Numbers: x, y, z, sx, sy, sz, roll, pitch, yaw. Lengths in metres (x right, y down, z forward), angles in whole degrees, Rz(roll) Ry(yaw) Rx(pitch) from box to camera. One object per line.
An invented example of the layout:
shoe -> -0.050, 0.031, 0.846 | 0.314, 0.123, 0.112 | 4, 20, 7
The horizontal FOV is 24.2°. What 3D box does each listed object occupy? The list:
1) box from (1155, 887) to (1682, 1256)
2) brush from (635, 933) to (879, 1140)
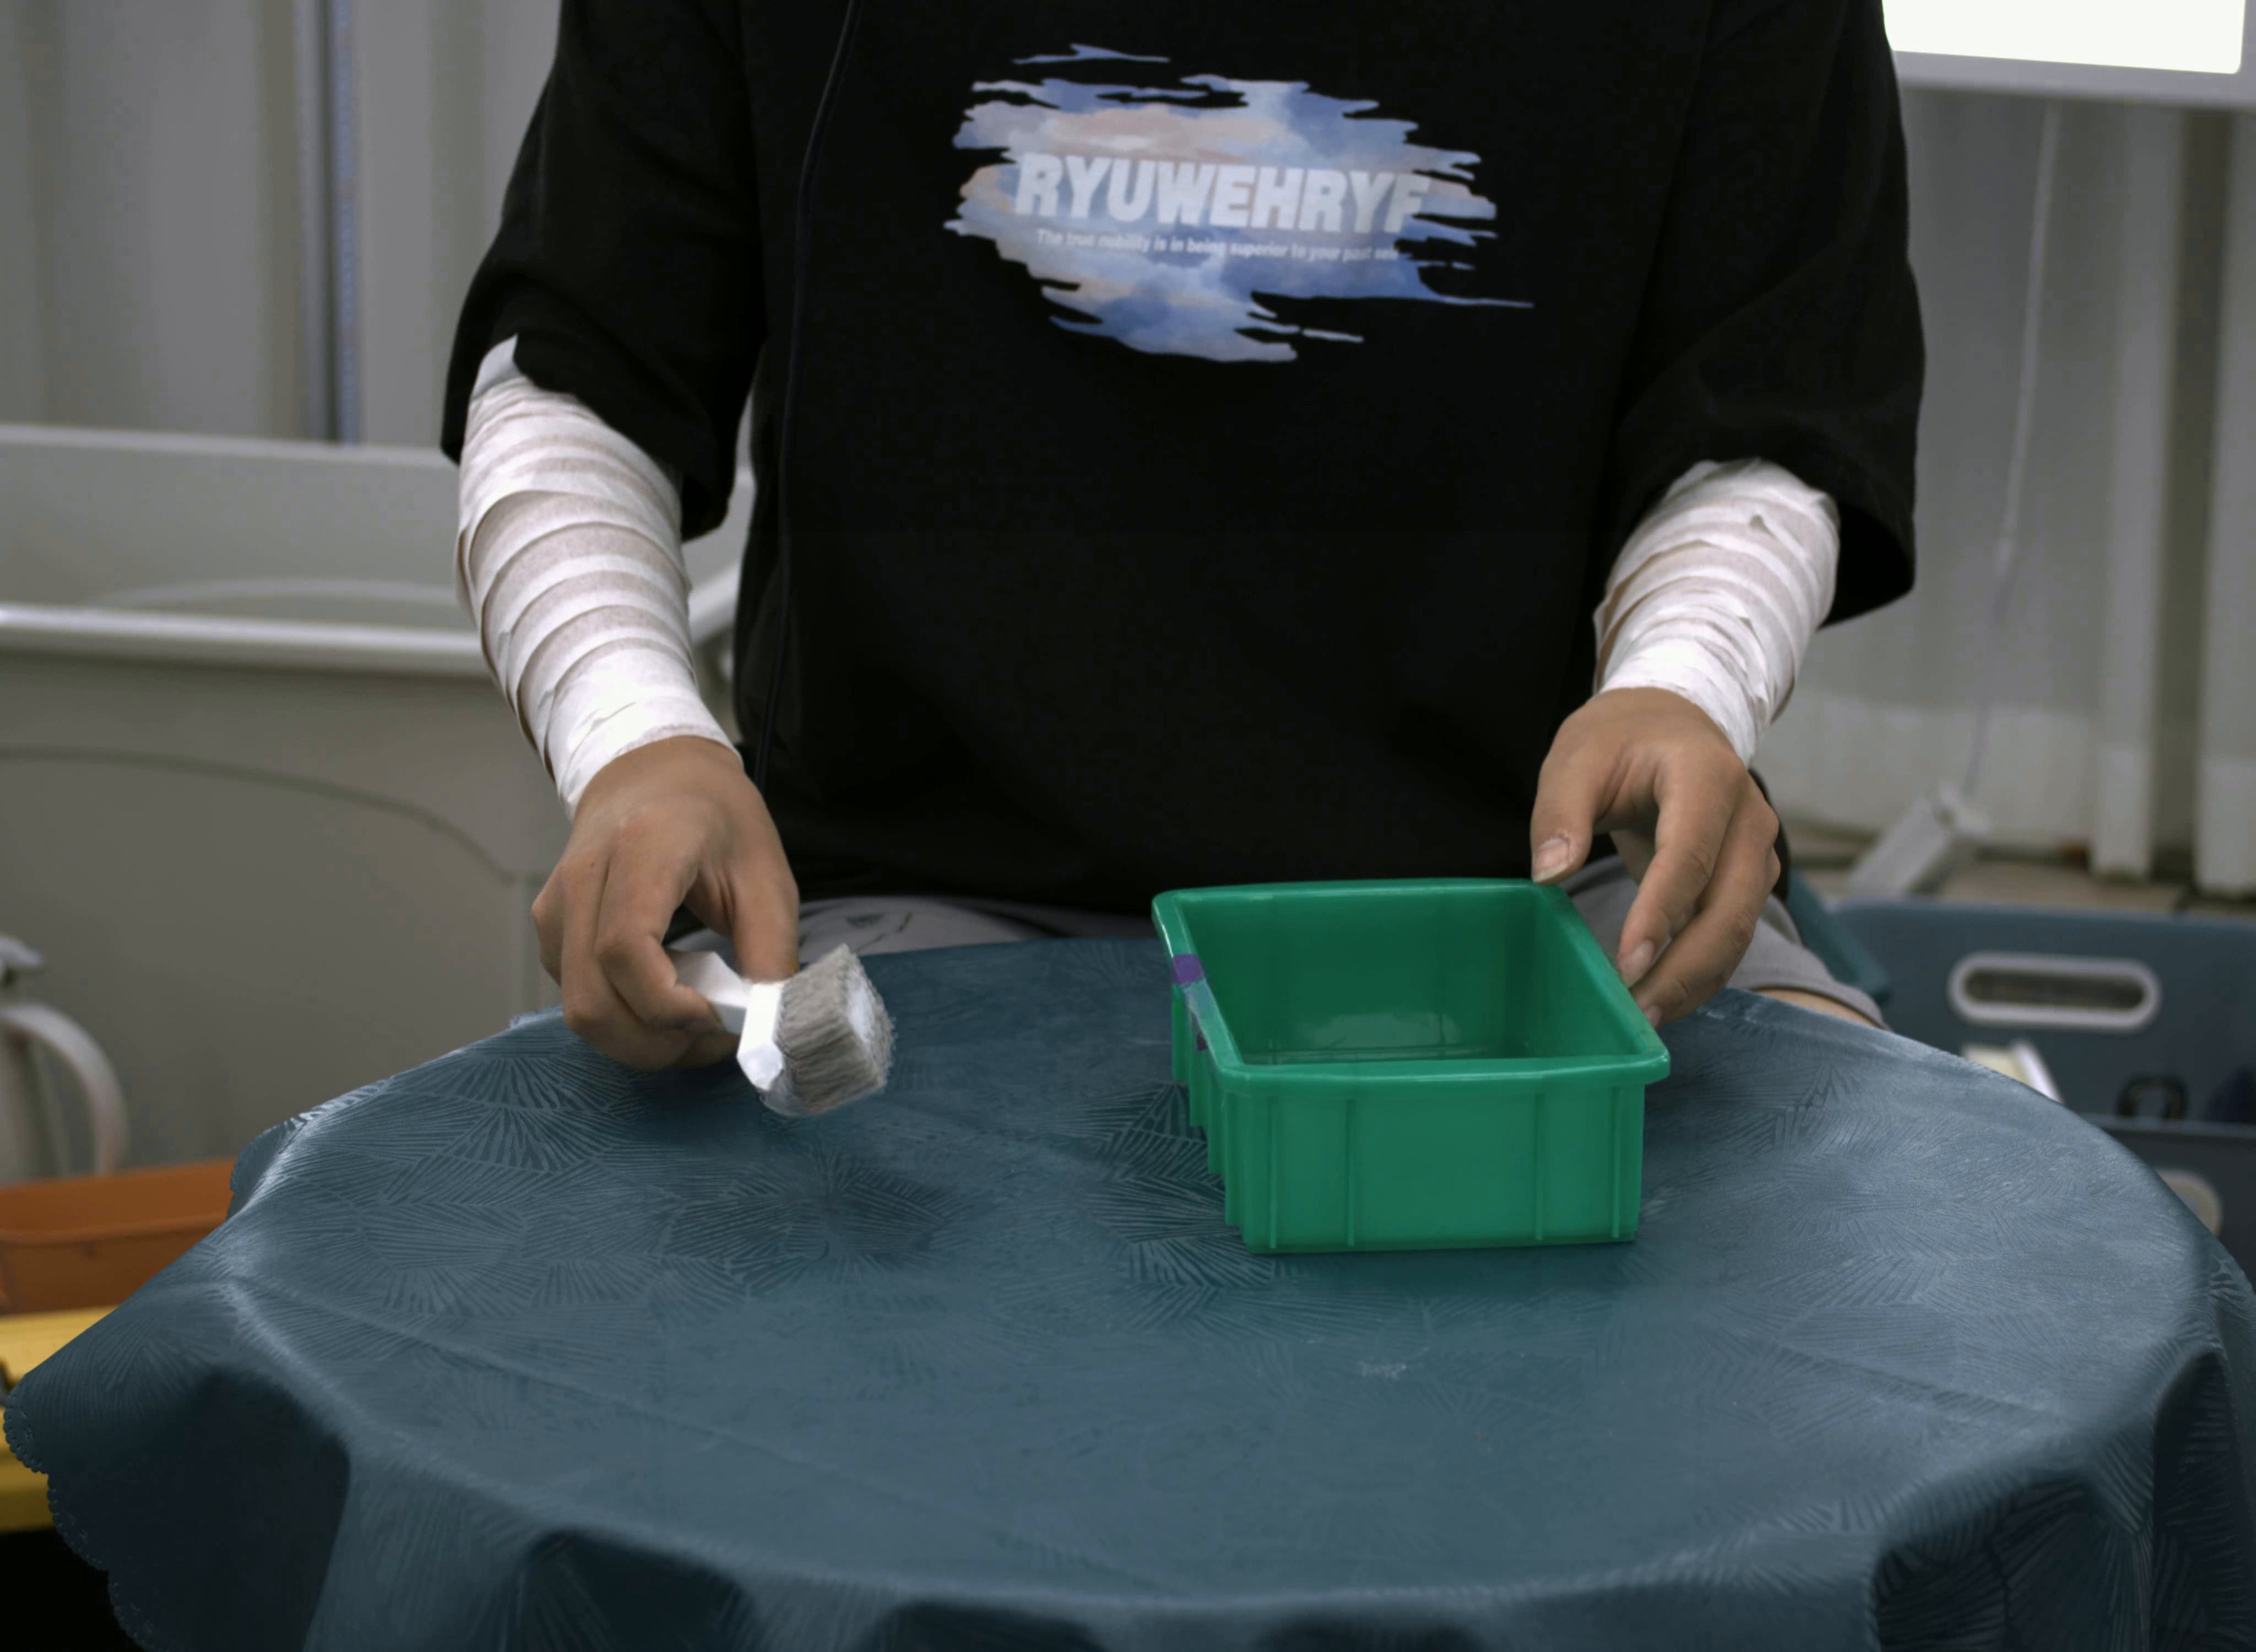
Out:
box -> 0.087, 0.075, 1.647 | 0.138, 0.066, 0.209 | -3, 15, -7
brush -> -0.118, 0.054, 1.677 | 0.050, 0.034, 0.242 | -30, 14, -8
